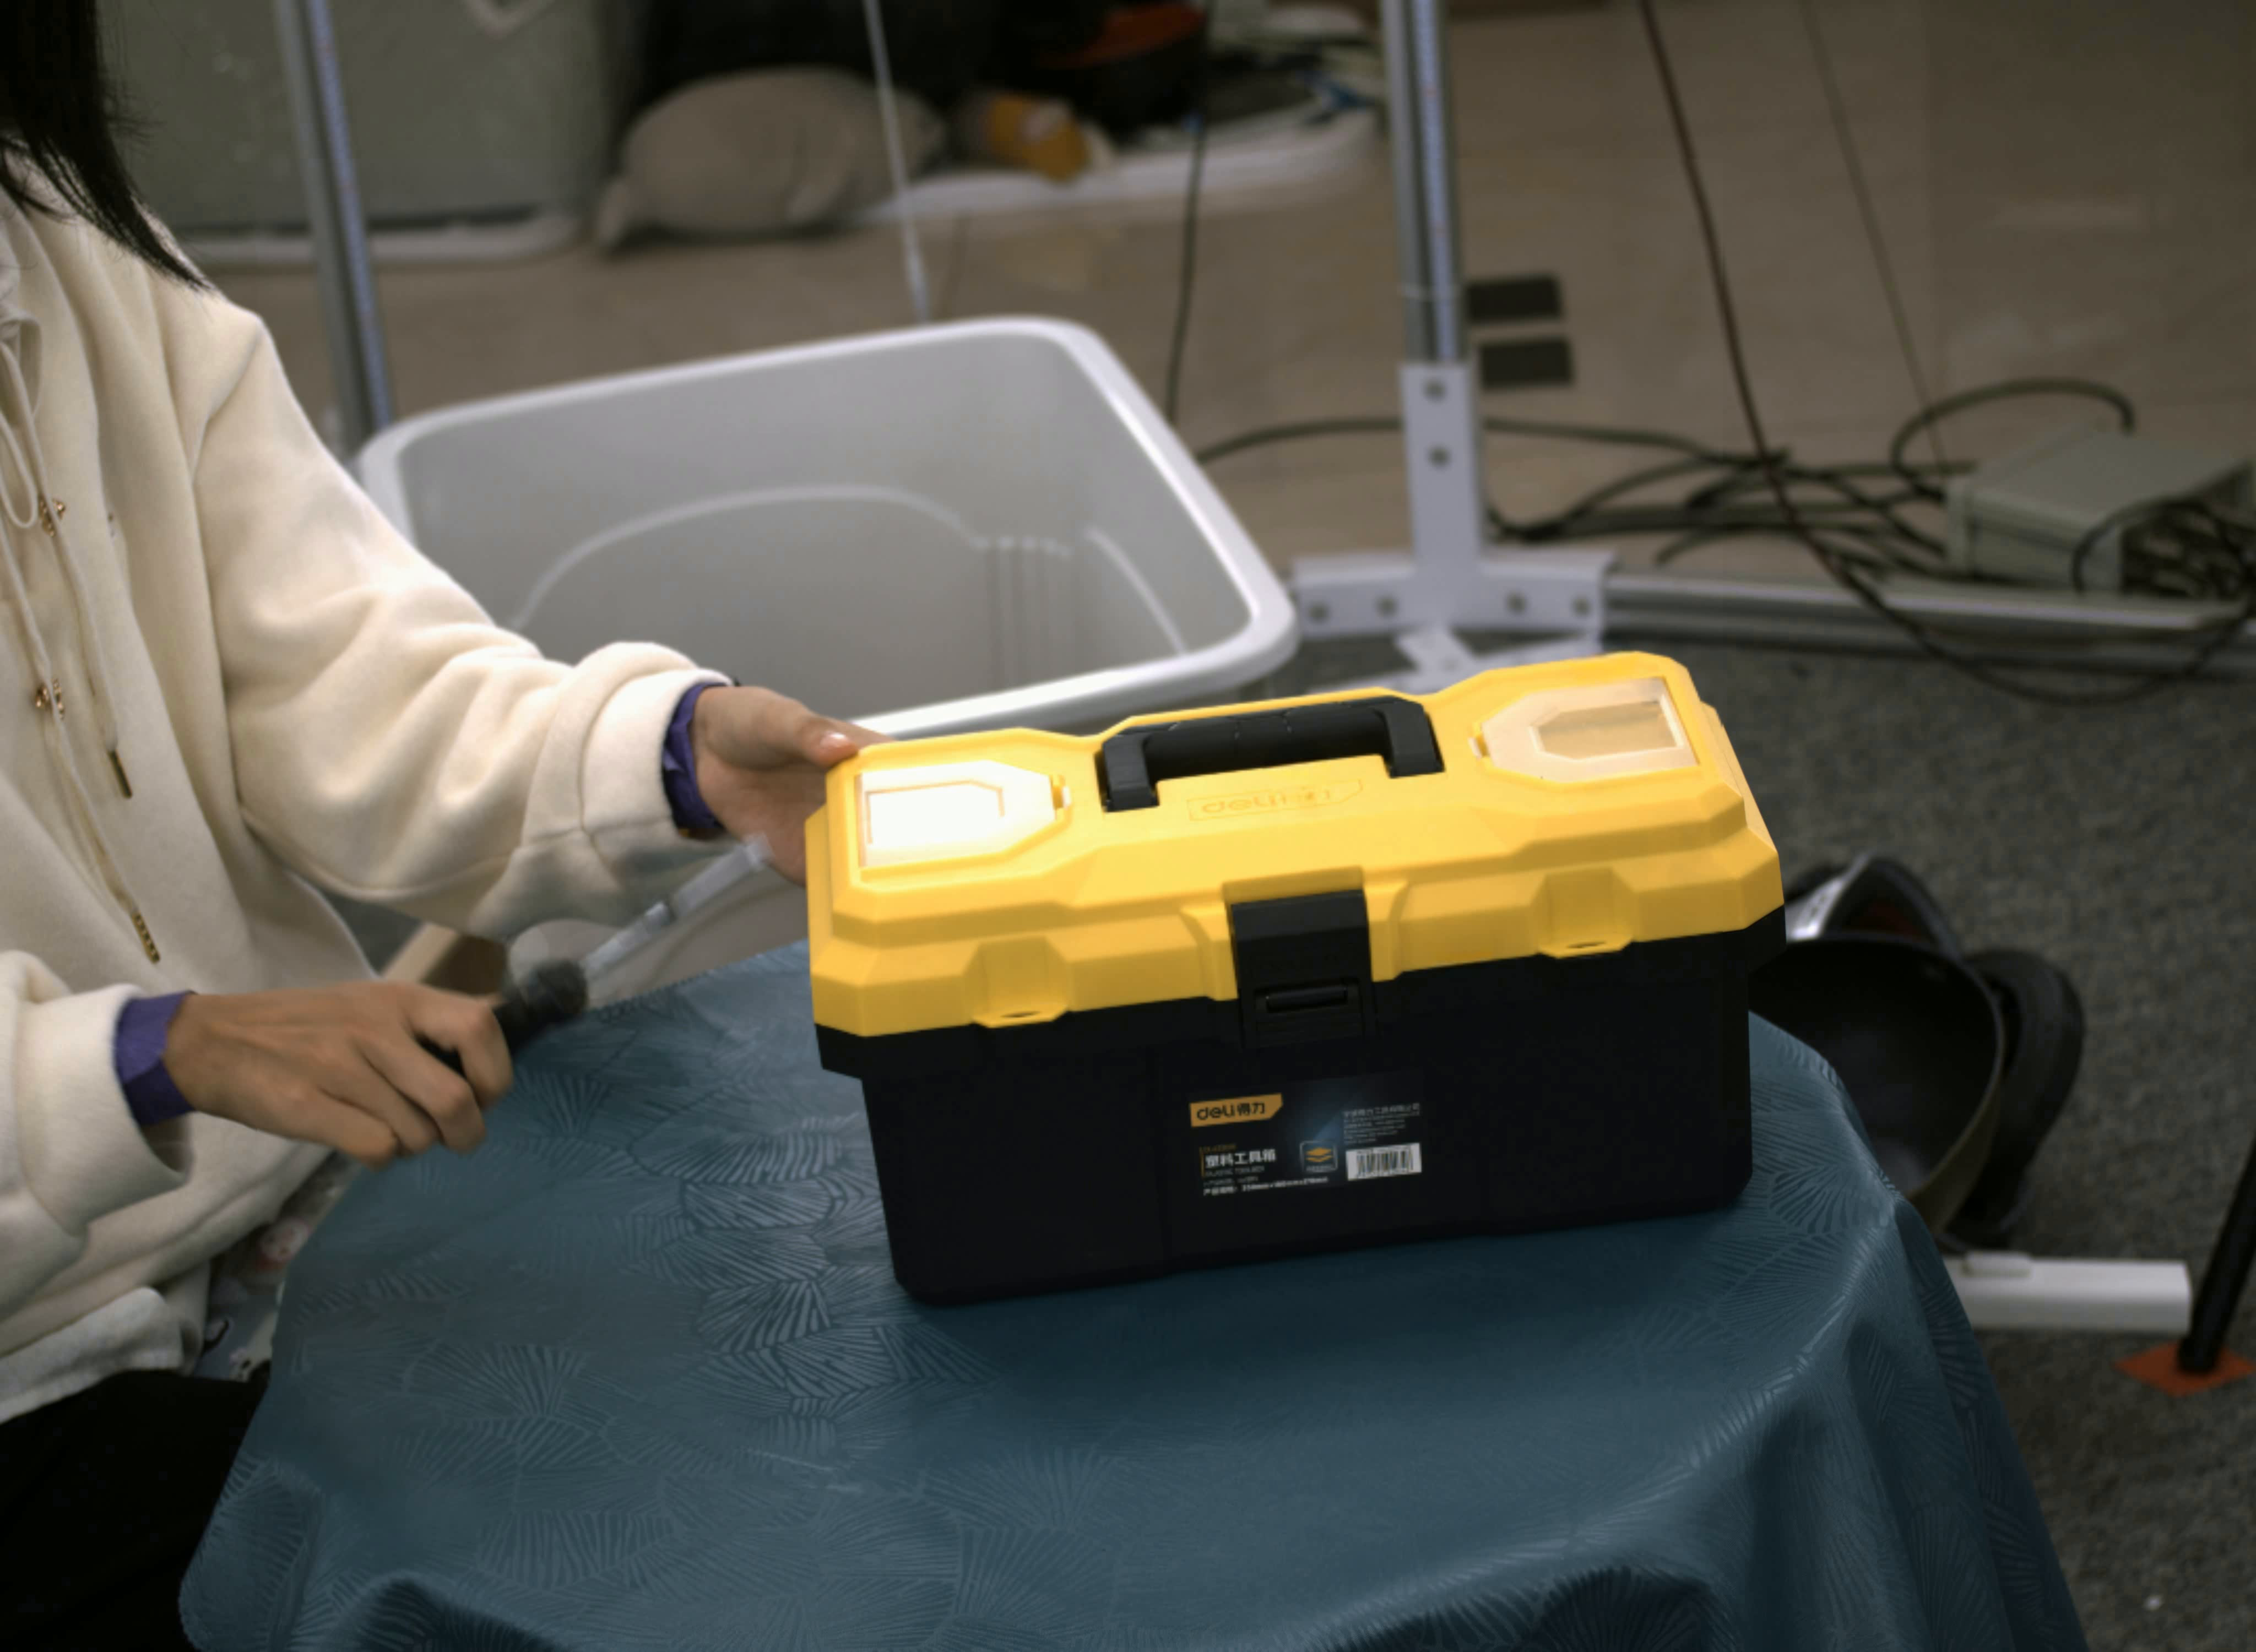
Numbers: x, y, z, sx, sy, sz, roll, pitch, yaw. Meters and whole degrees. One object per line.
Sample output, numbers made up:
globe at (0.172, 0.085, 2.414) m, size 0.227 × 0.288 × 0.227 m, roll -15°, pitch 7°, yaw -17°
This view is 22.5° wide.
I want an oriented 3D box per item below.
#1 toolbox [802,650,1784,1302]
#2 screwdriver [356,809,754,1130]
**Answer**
toolbox at (0.060, 0.057, 2.101) m, size 0.351 × 0.175 × 0.178 m, roll -7°, pitch 25°, yaw -1°
screwdriver at (-0.202, 0.048, 1.987) m, size 0.198 × 0.031 × 0.031 m, roll -38°, pitch 11°, yaw 28°
